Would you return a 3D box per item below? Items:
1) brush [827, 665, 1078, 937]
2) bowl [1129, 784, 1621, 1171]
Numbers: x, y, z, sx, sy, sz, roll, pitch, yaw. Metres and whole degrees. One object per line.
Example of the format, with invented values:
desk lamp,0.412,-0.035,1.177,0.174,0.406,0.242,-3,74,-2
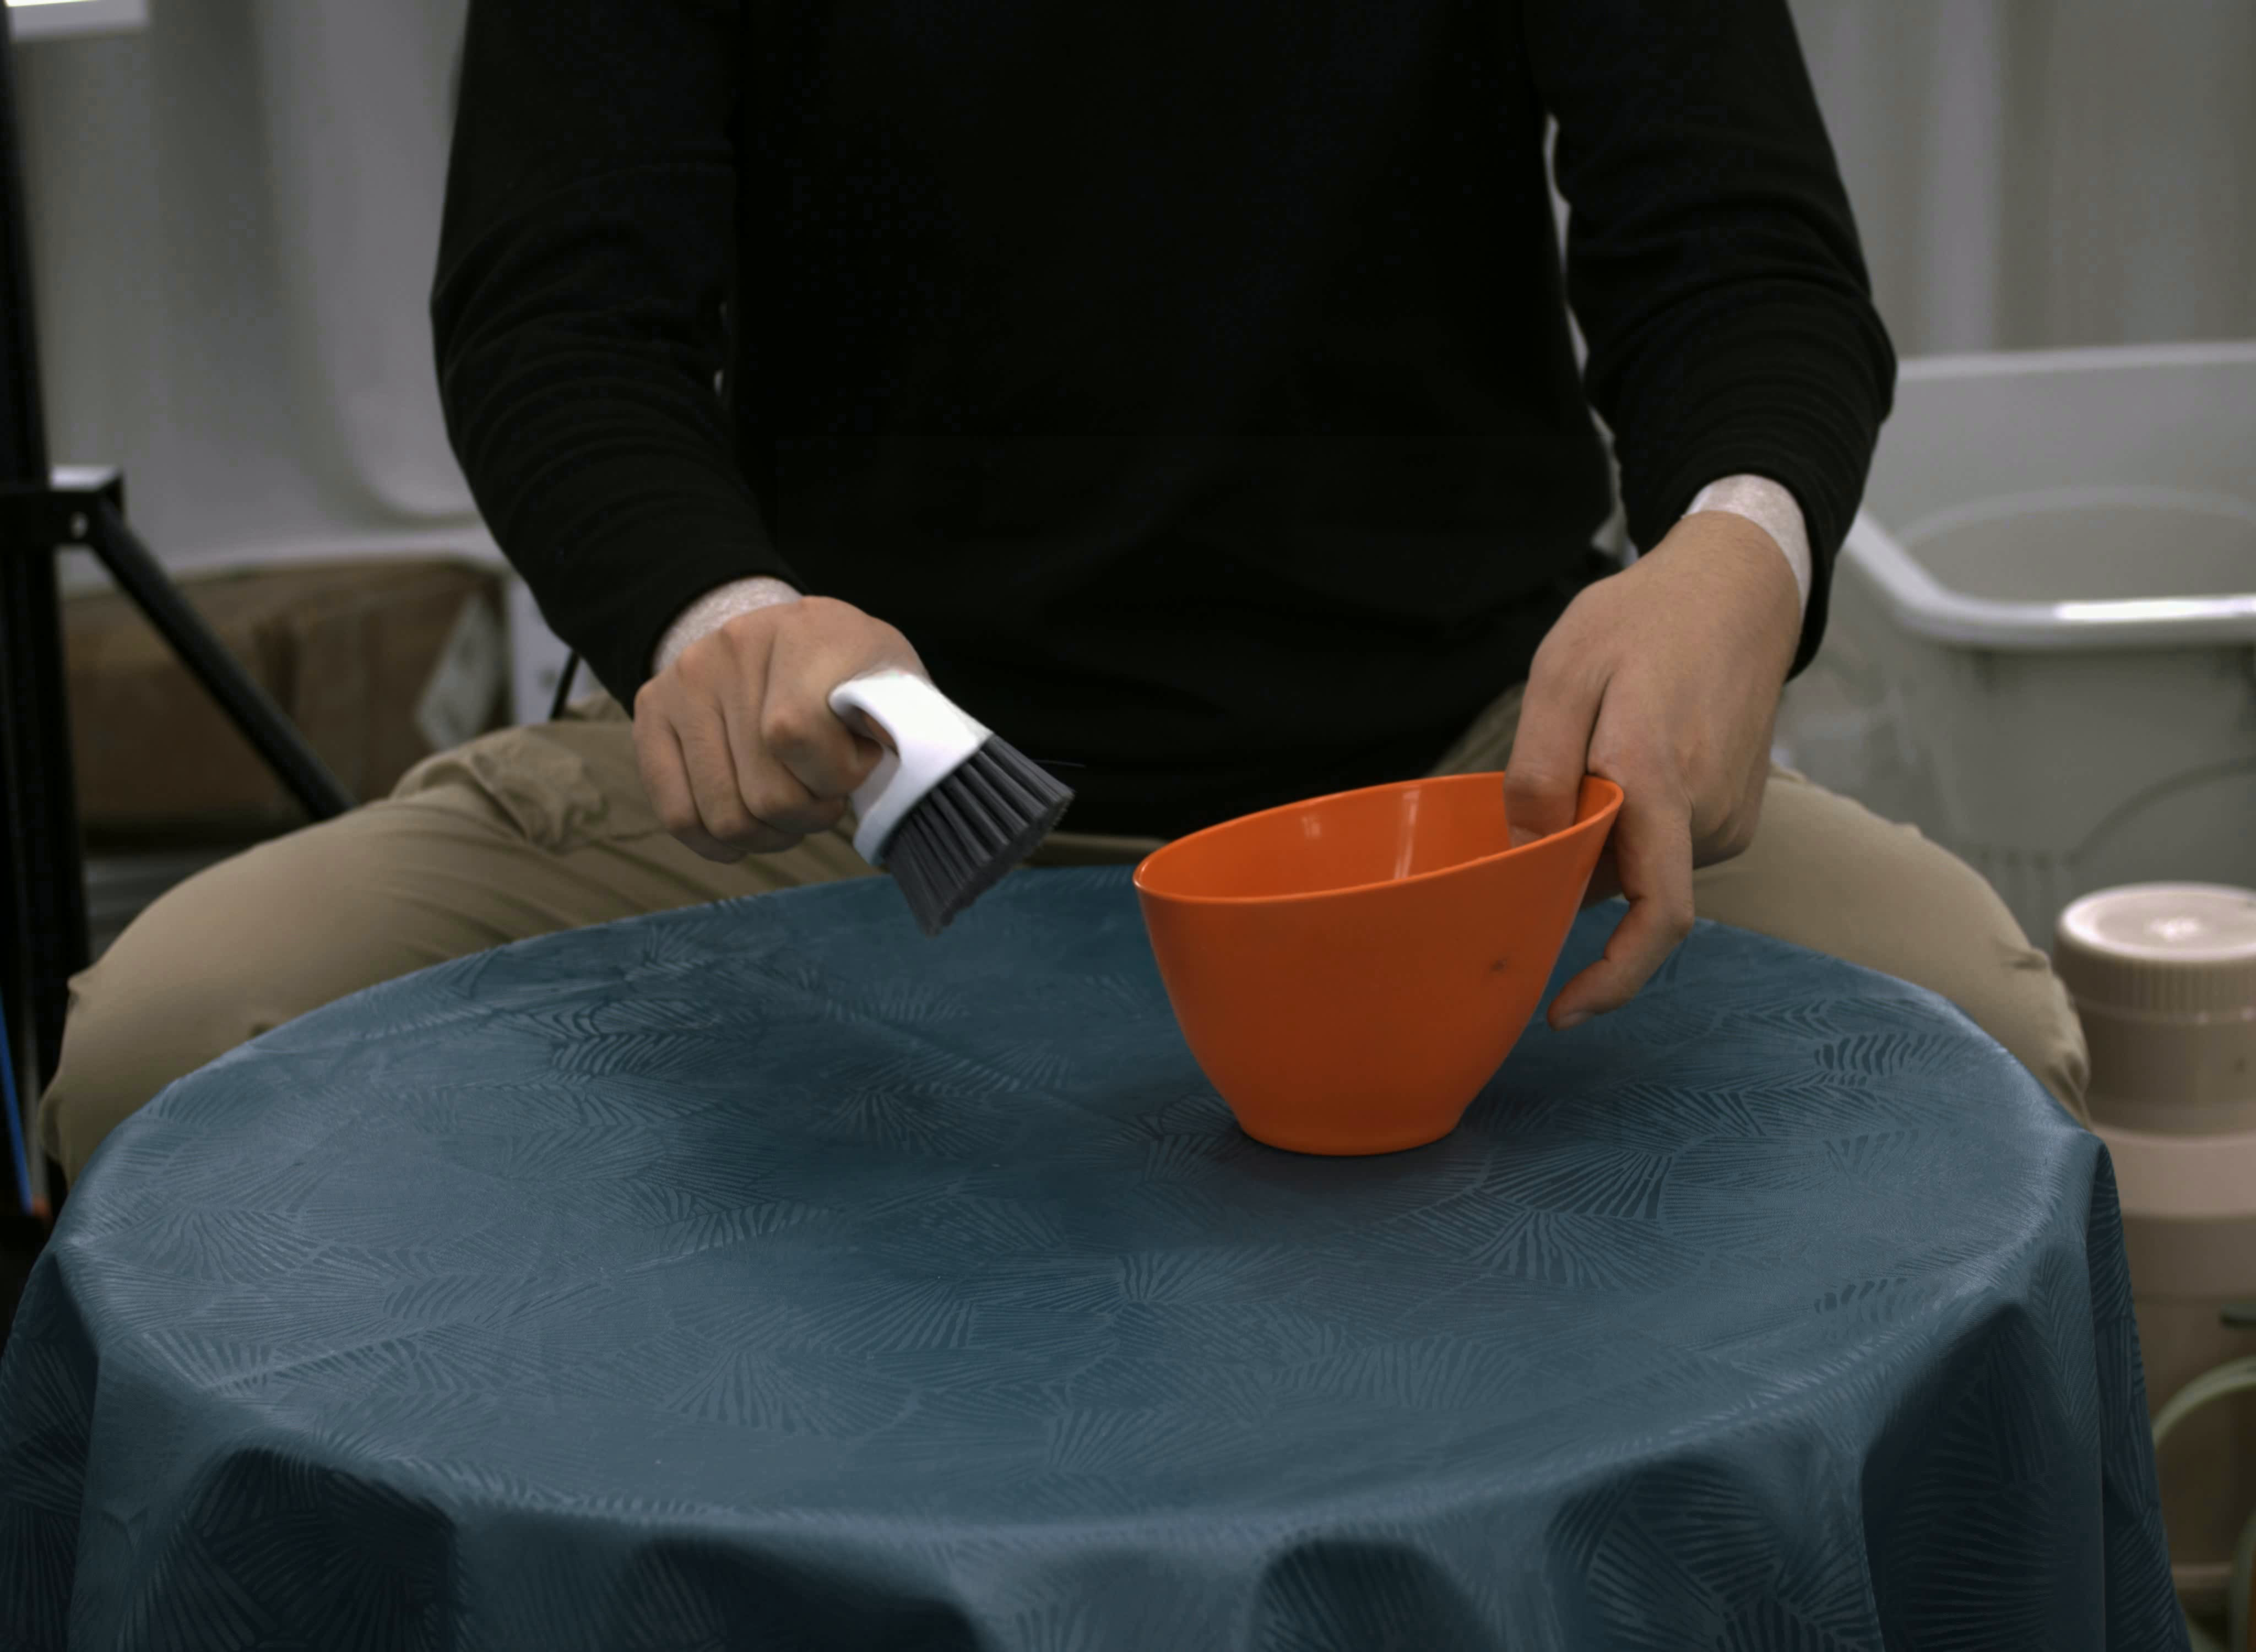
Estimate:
brush,-0.059,-0.014,1.574,0.050,0.073,0.099,-41,-4,-14
bowl,0.074,0.045,1.588,0.147,0.105,0.149,-3,14,-1
